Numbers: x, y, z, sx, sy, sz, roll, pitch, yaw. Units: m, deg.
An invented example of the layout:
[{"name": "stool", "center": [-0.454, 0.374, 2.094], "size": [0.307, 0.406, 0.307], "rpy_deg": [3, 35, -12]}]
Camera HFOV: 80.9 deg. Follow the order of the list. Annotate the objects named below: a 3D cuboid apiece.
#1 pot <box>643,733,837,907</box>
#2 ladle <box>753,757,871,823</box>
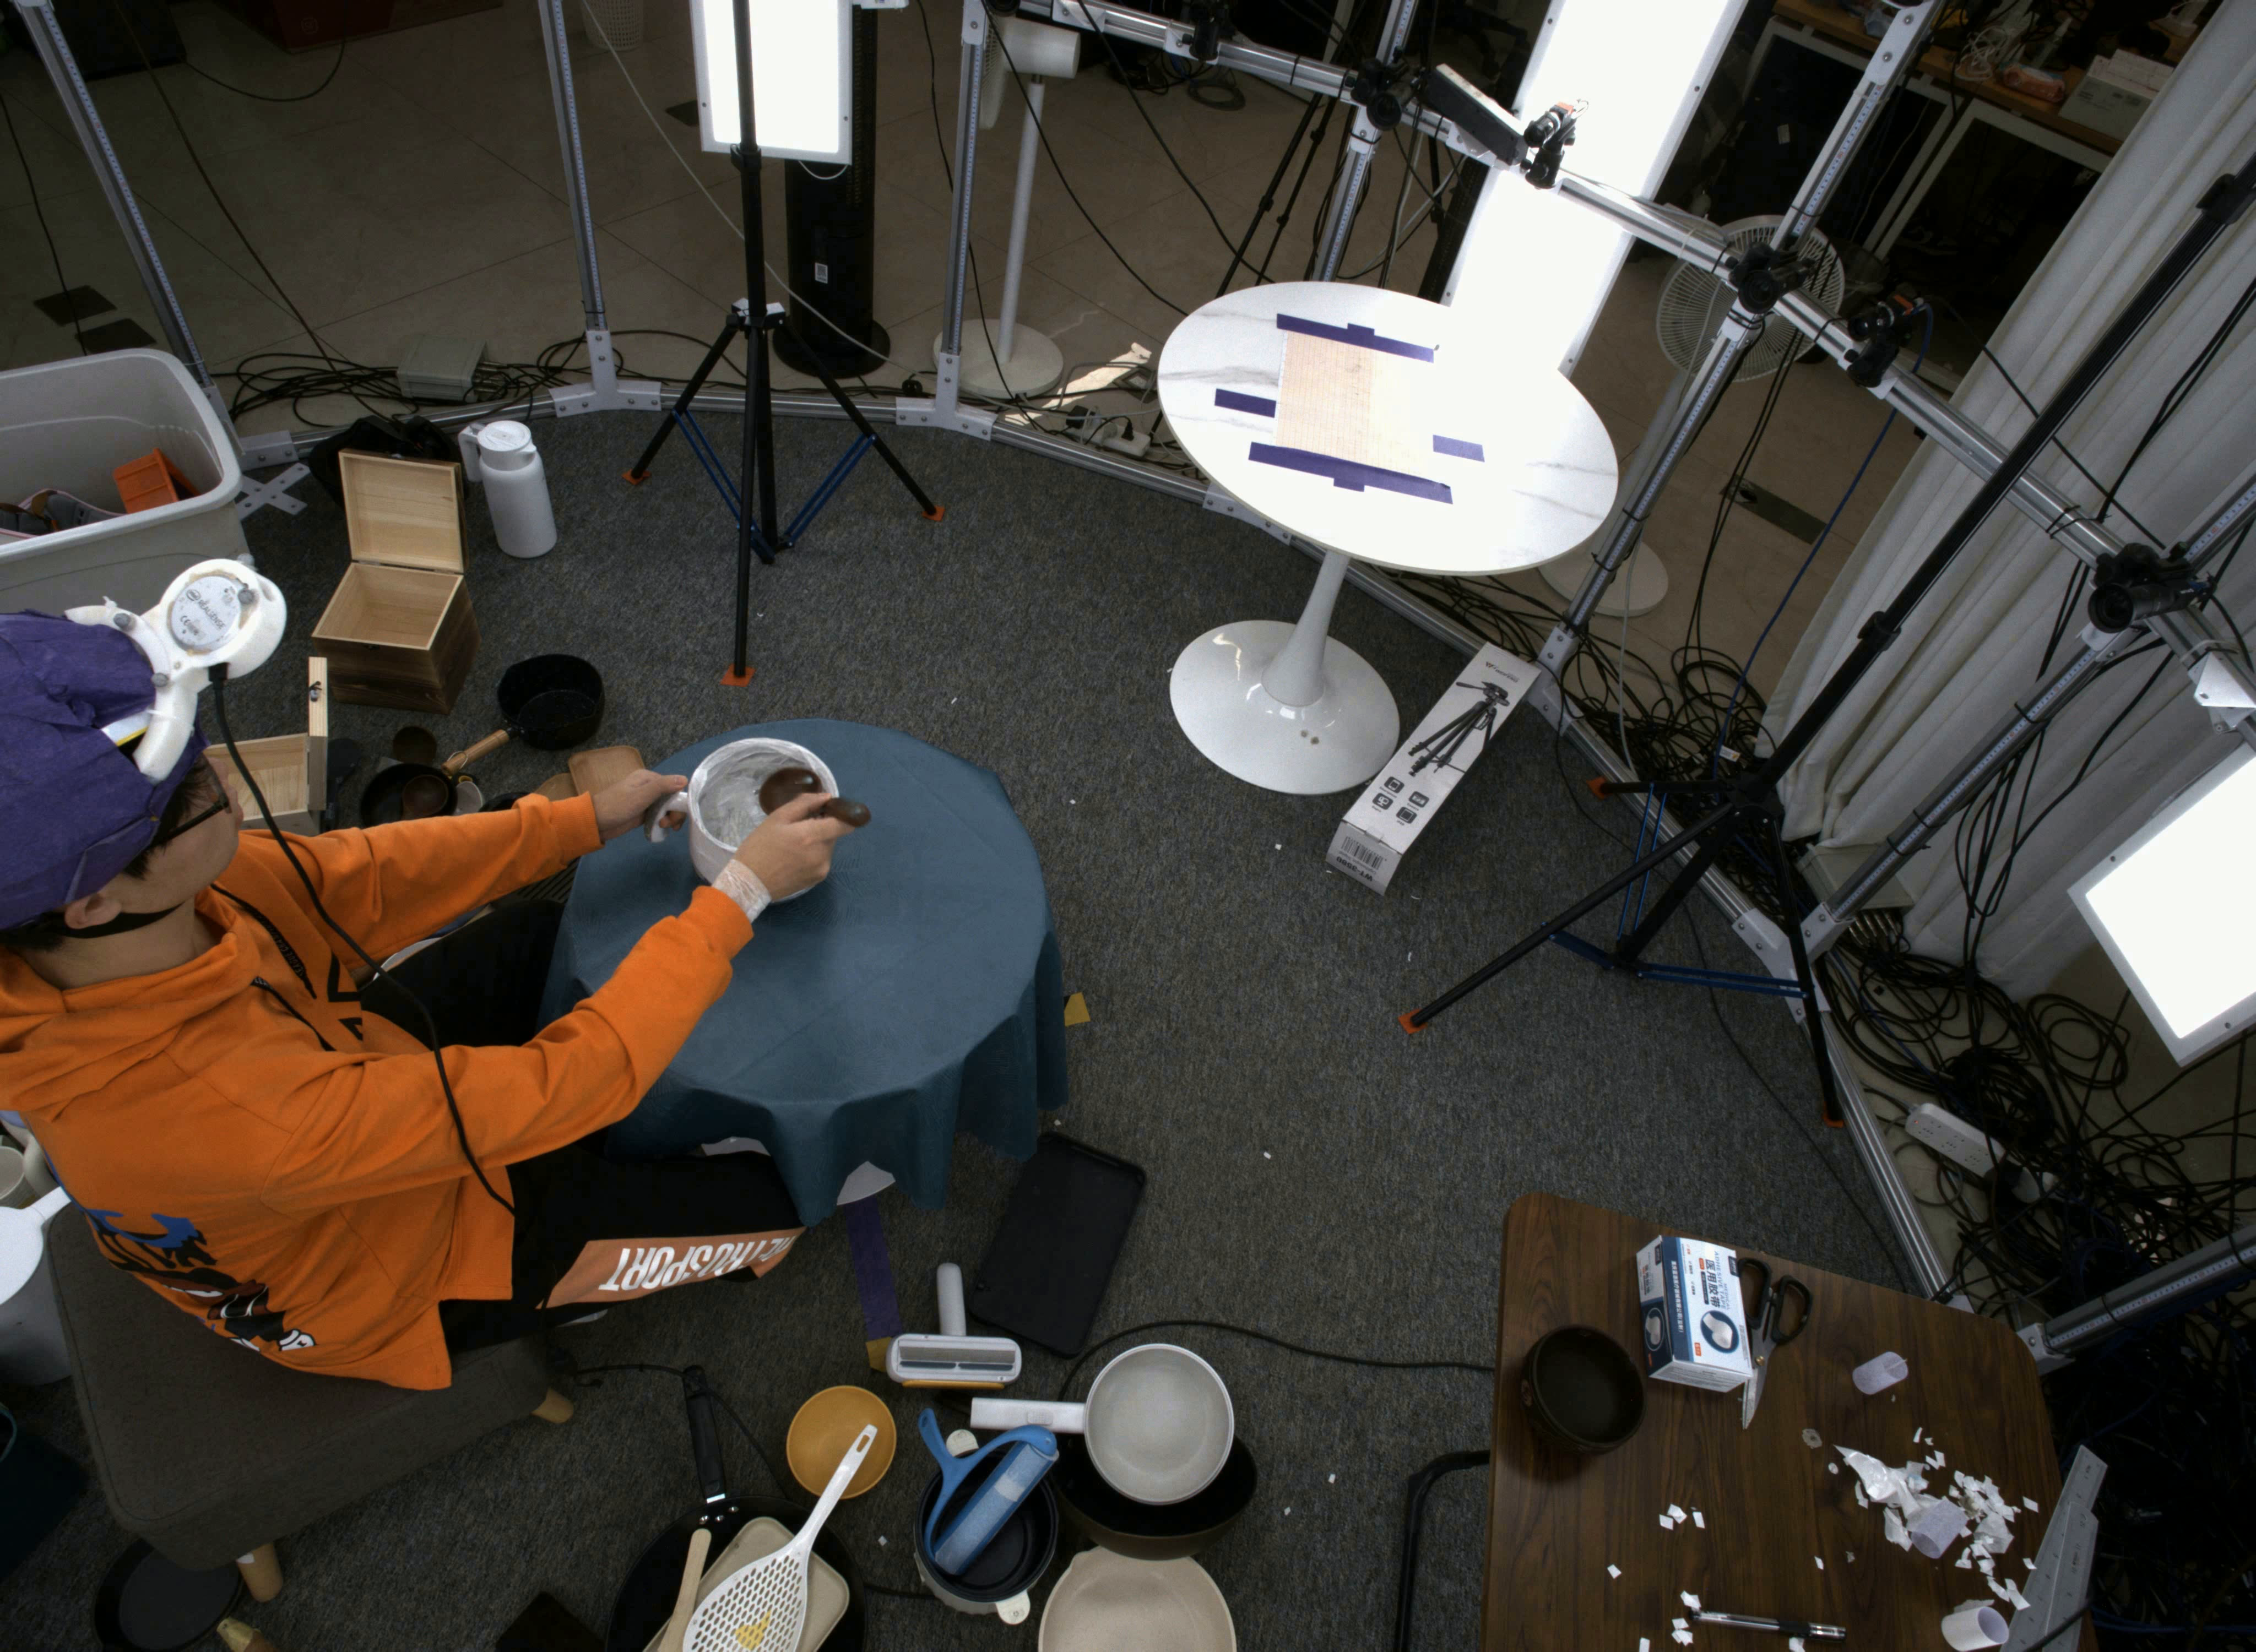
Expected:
[{"name": "pot", "center": [-0.475, -0.007, 1.575], "size": [0.234, 0.139, 0.175], "rpy_deg": [6, 54, -14]}, {"name": "ladle", "center": [-0.343, -0.038, 1.403], "size": [0.076, 0.252, 0.067], "rpy_deg": [-44, 113, -21]}]
